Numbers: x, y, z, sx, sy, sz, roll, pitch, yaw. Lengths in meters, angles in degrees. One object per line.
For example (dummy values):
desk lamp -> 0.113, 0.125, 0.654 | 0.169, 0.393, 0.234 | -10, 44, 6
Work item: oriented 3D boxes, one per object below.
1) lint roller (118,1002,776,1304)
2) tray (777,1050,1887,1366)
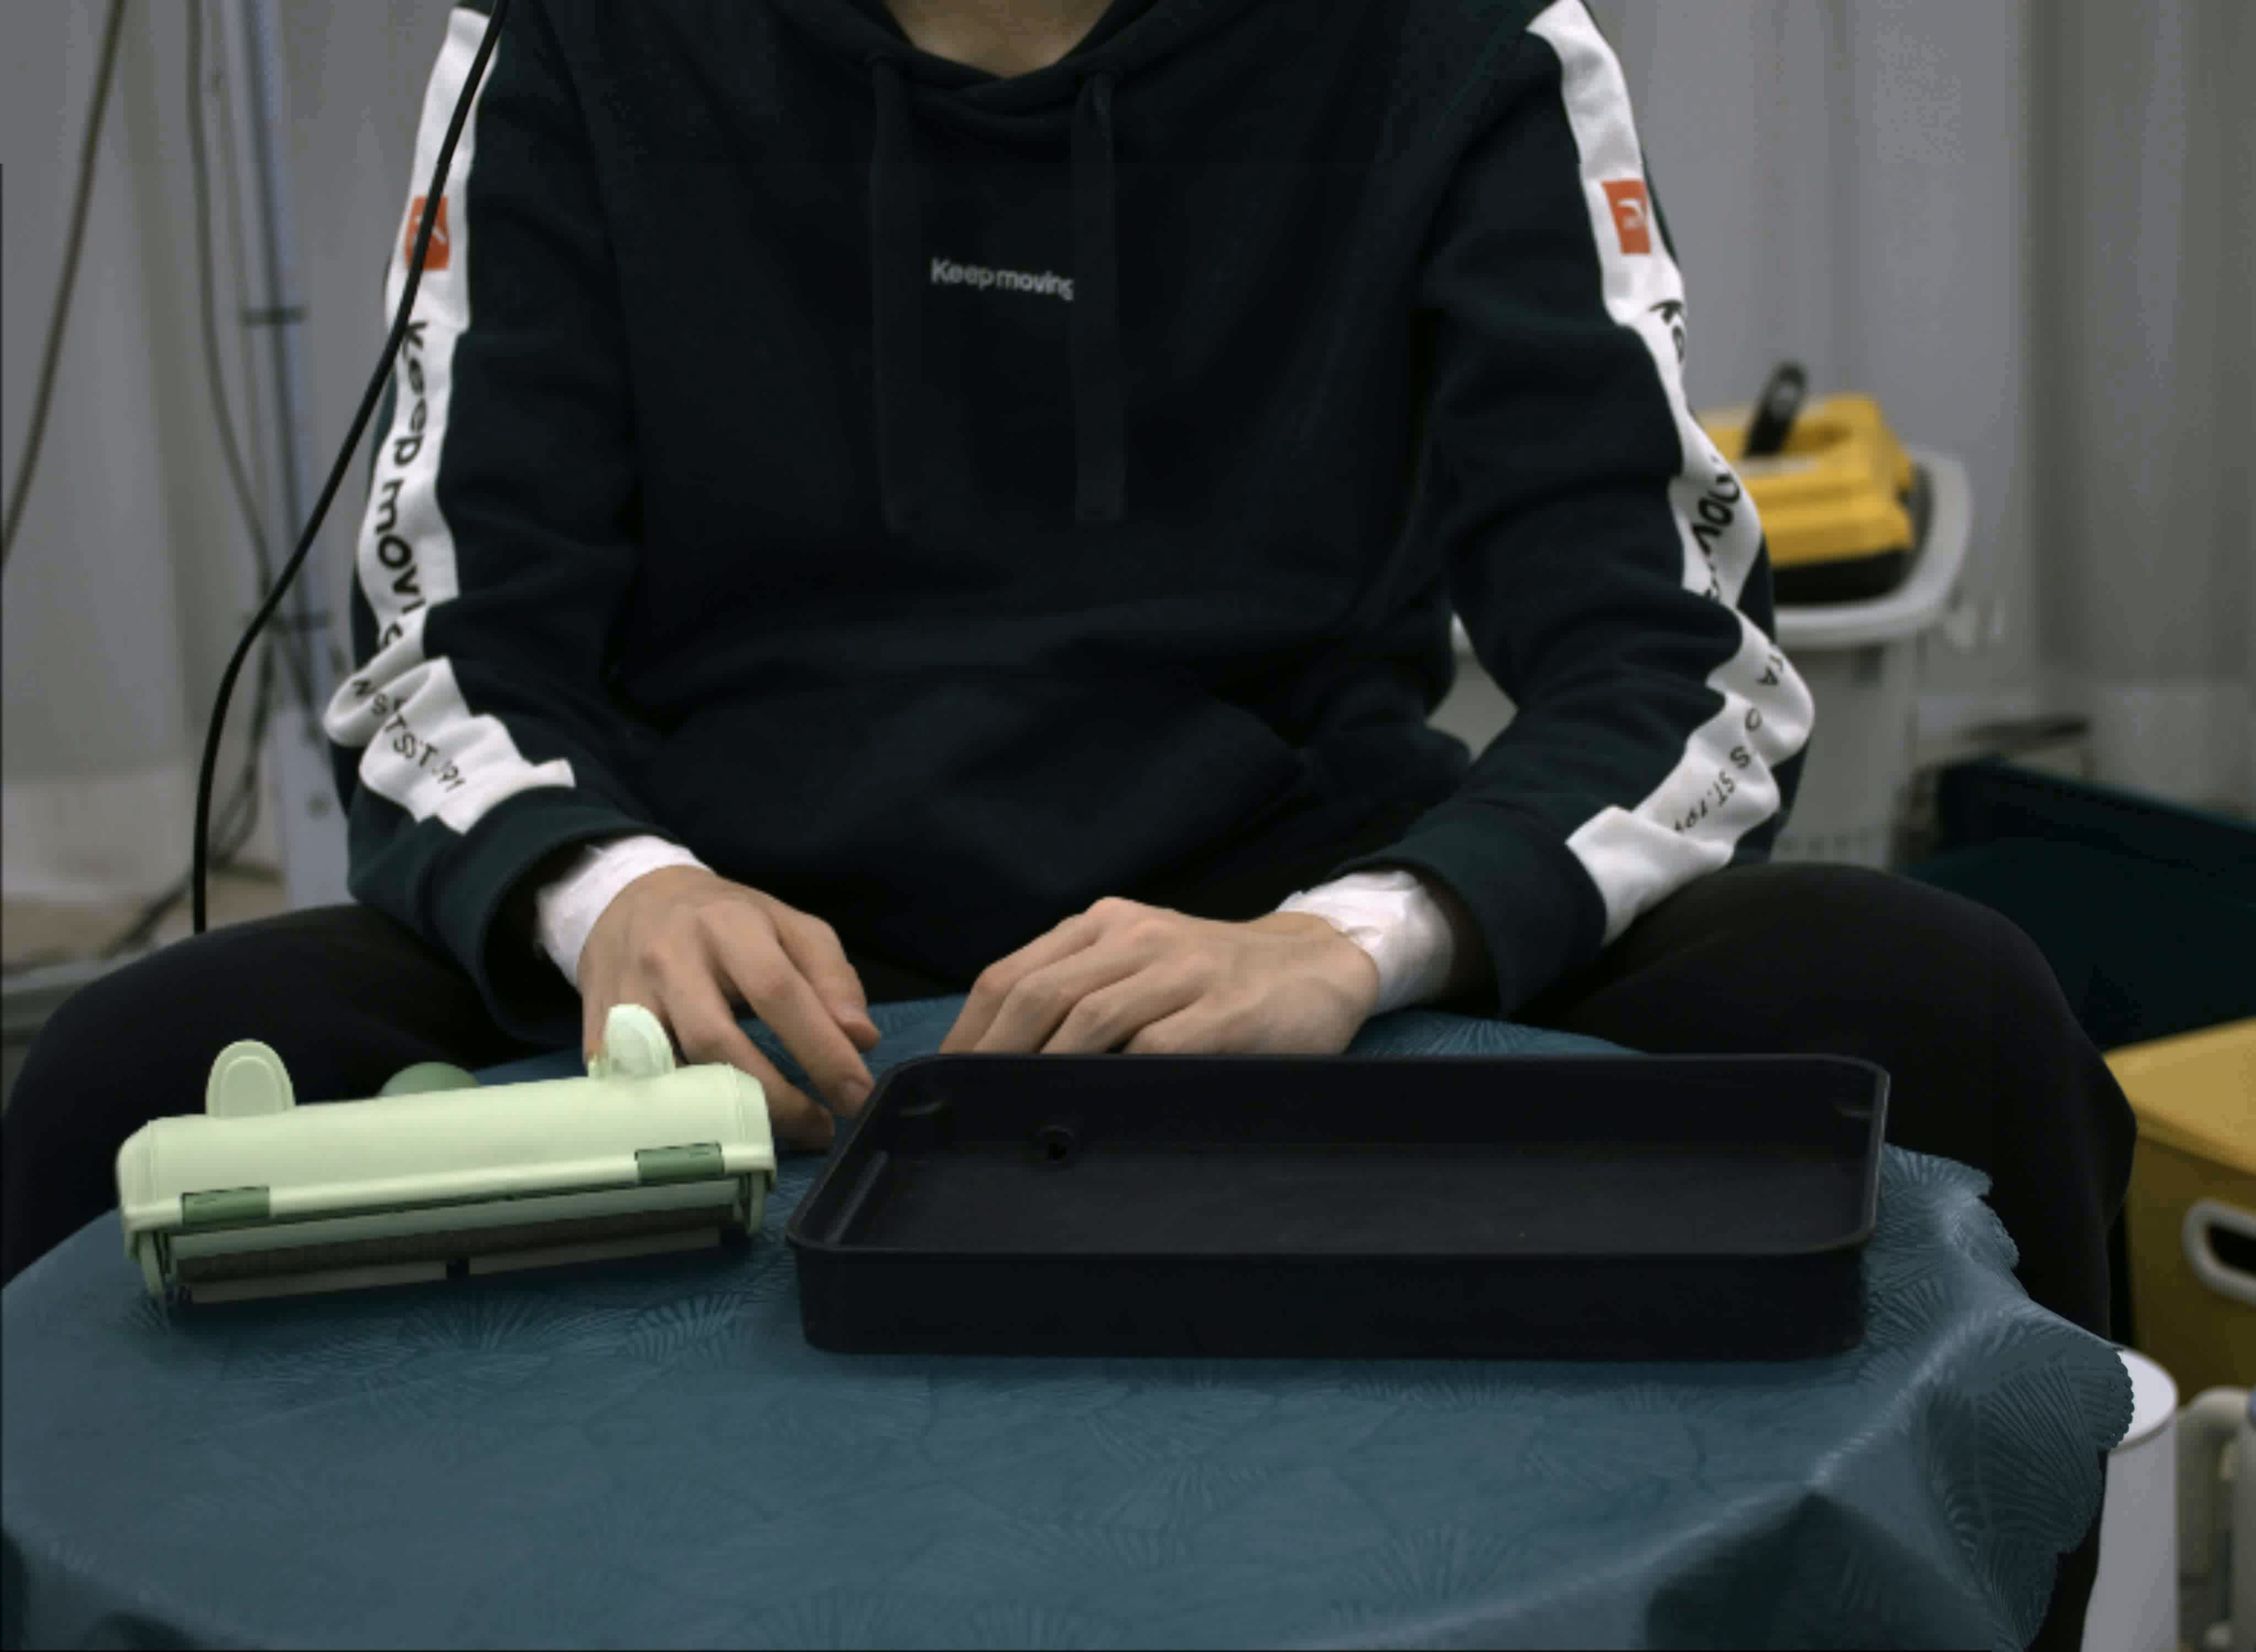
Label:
lint roller -> -0.217, 0.085, 1.716 | 0.198, 0.082, 0.185 | -6, 18, -9
tray -> 0.066, 0.112, 1.640 | 0.317, 0.037, 0.185 | 0, 15, 10
